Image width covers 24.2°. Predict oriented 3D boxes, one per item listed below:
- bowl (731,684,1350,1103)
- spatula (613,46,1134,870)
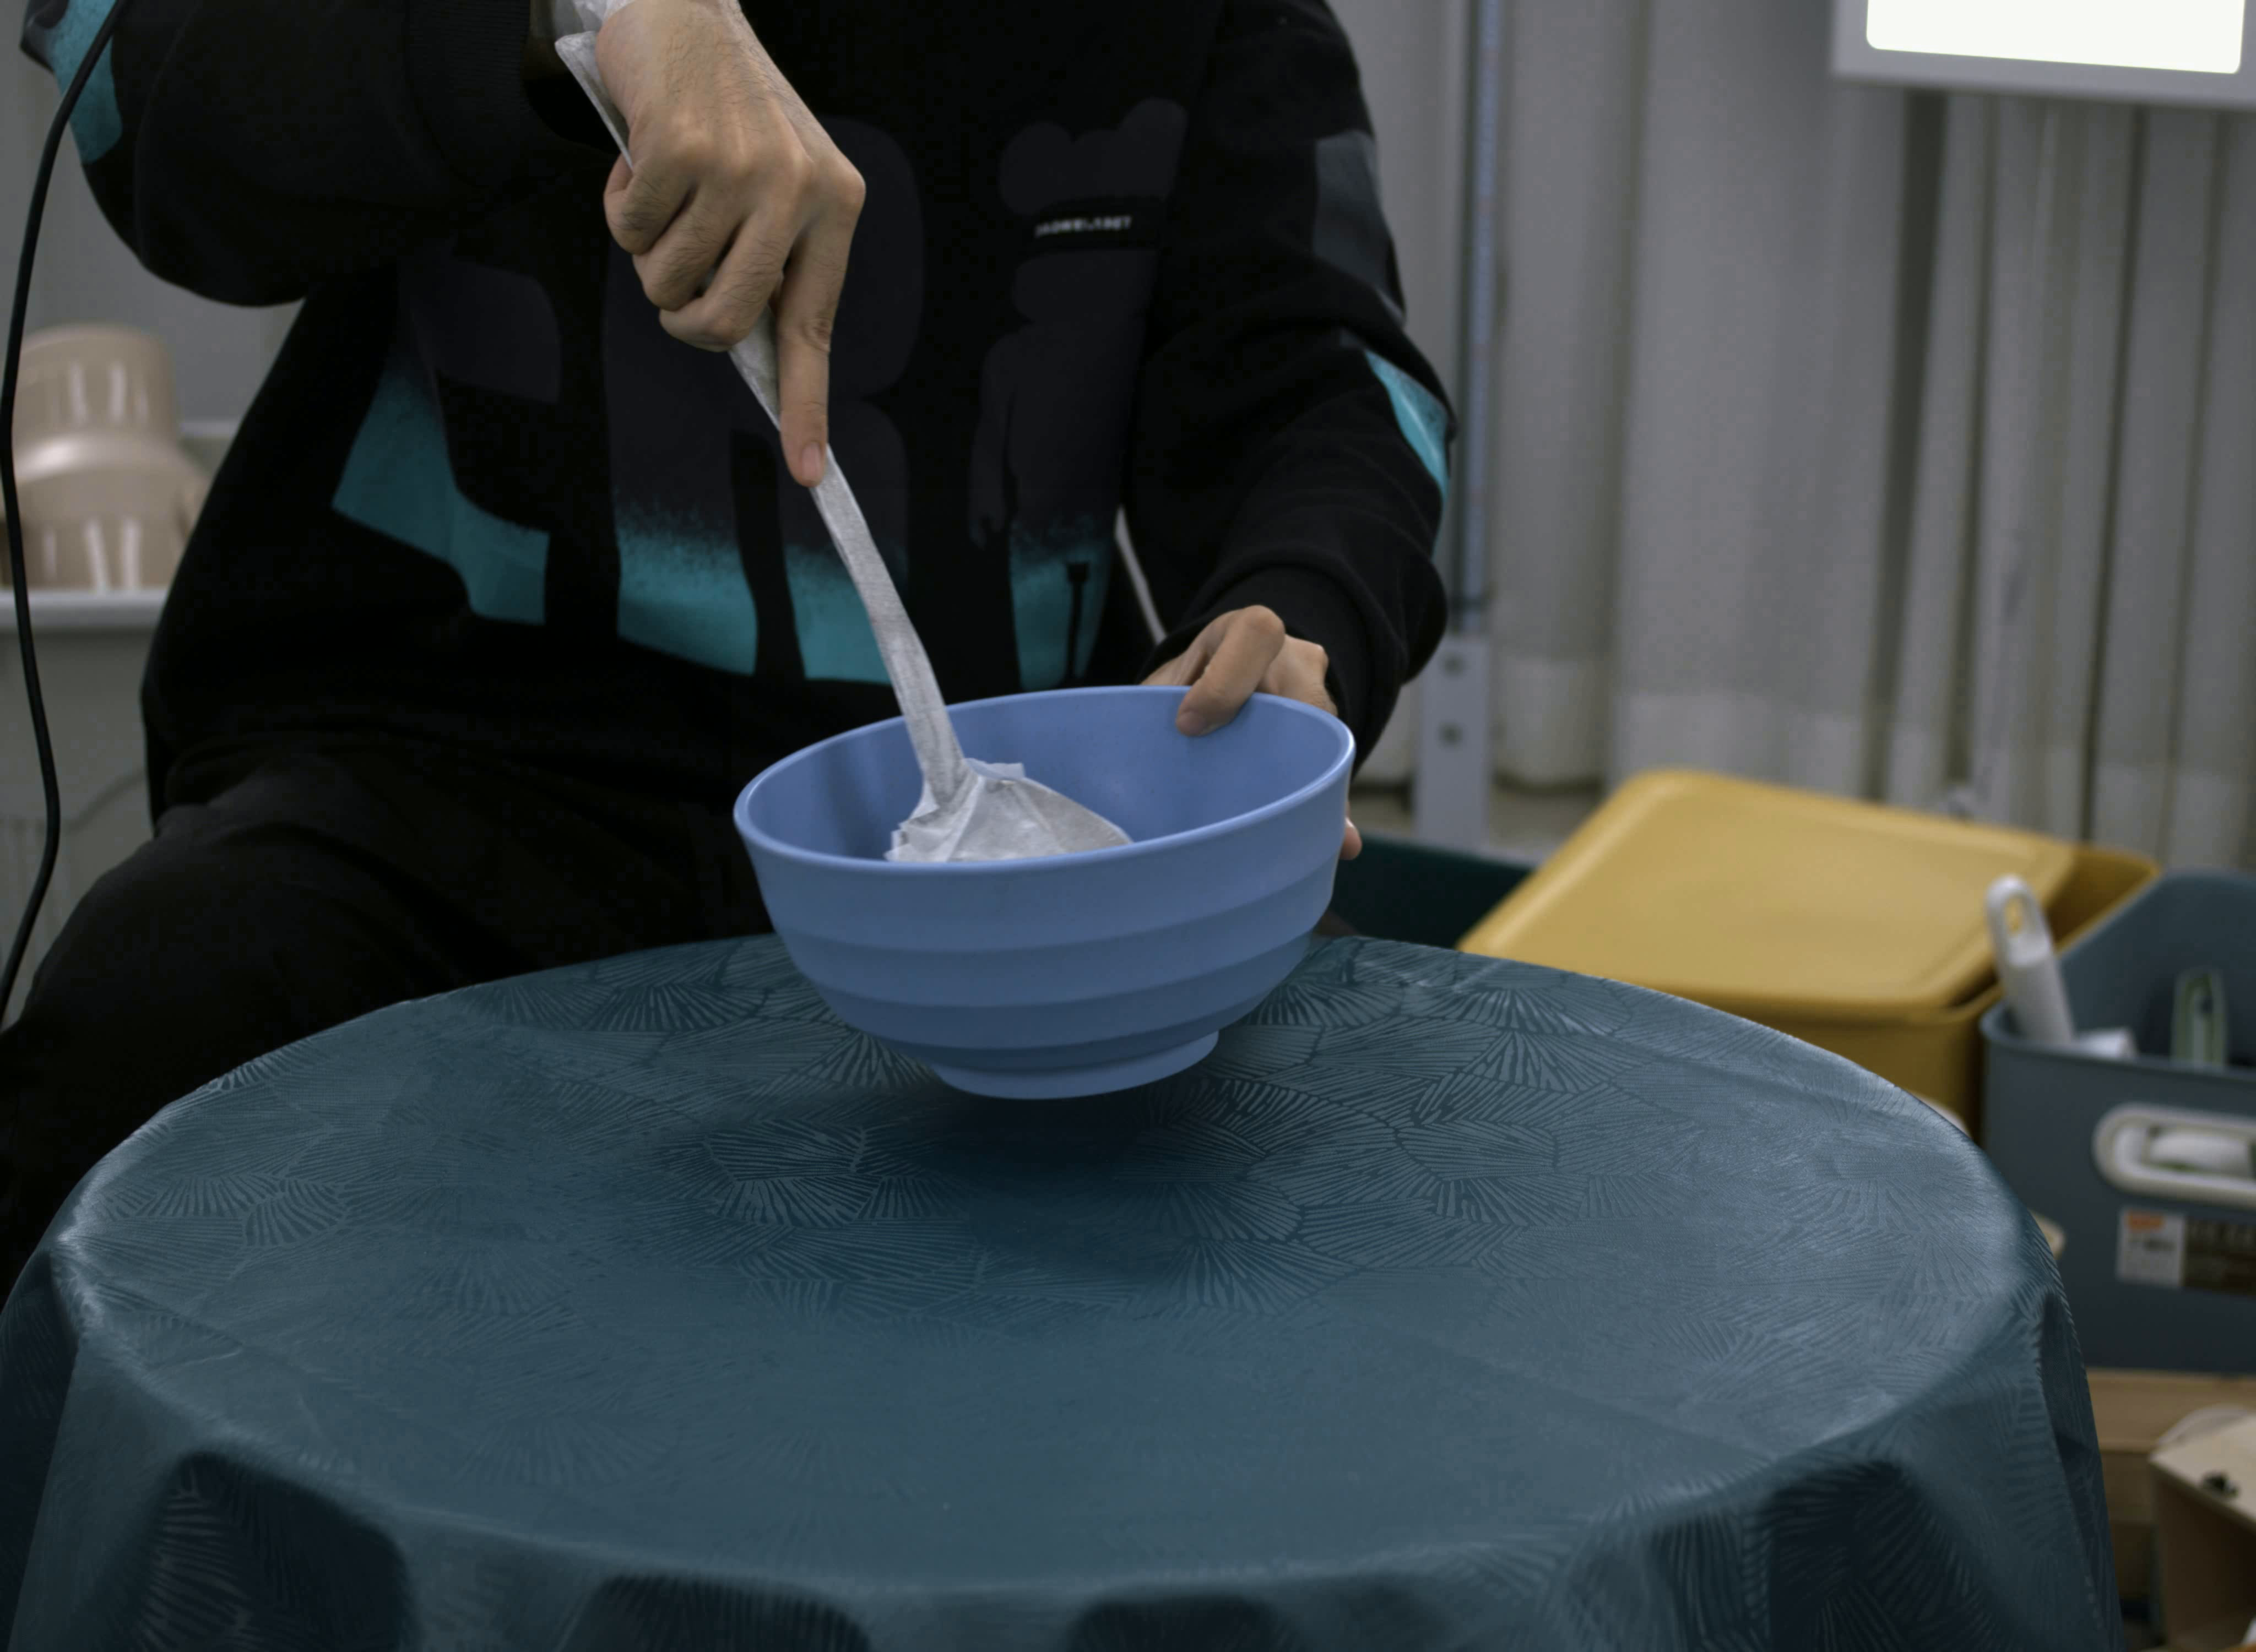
[{"bbox_3d":[-0.022,0.027,1.666,0.196,0.096,0.195,-7,17,3],"label":"bowl"},{"bbox_3d":[-0.082,-0.095,1.691,0.099,0.365,0.044,-23,-3,-37],"label":"spatula"}]
